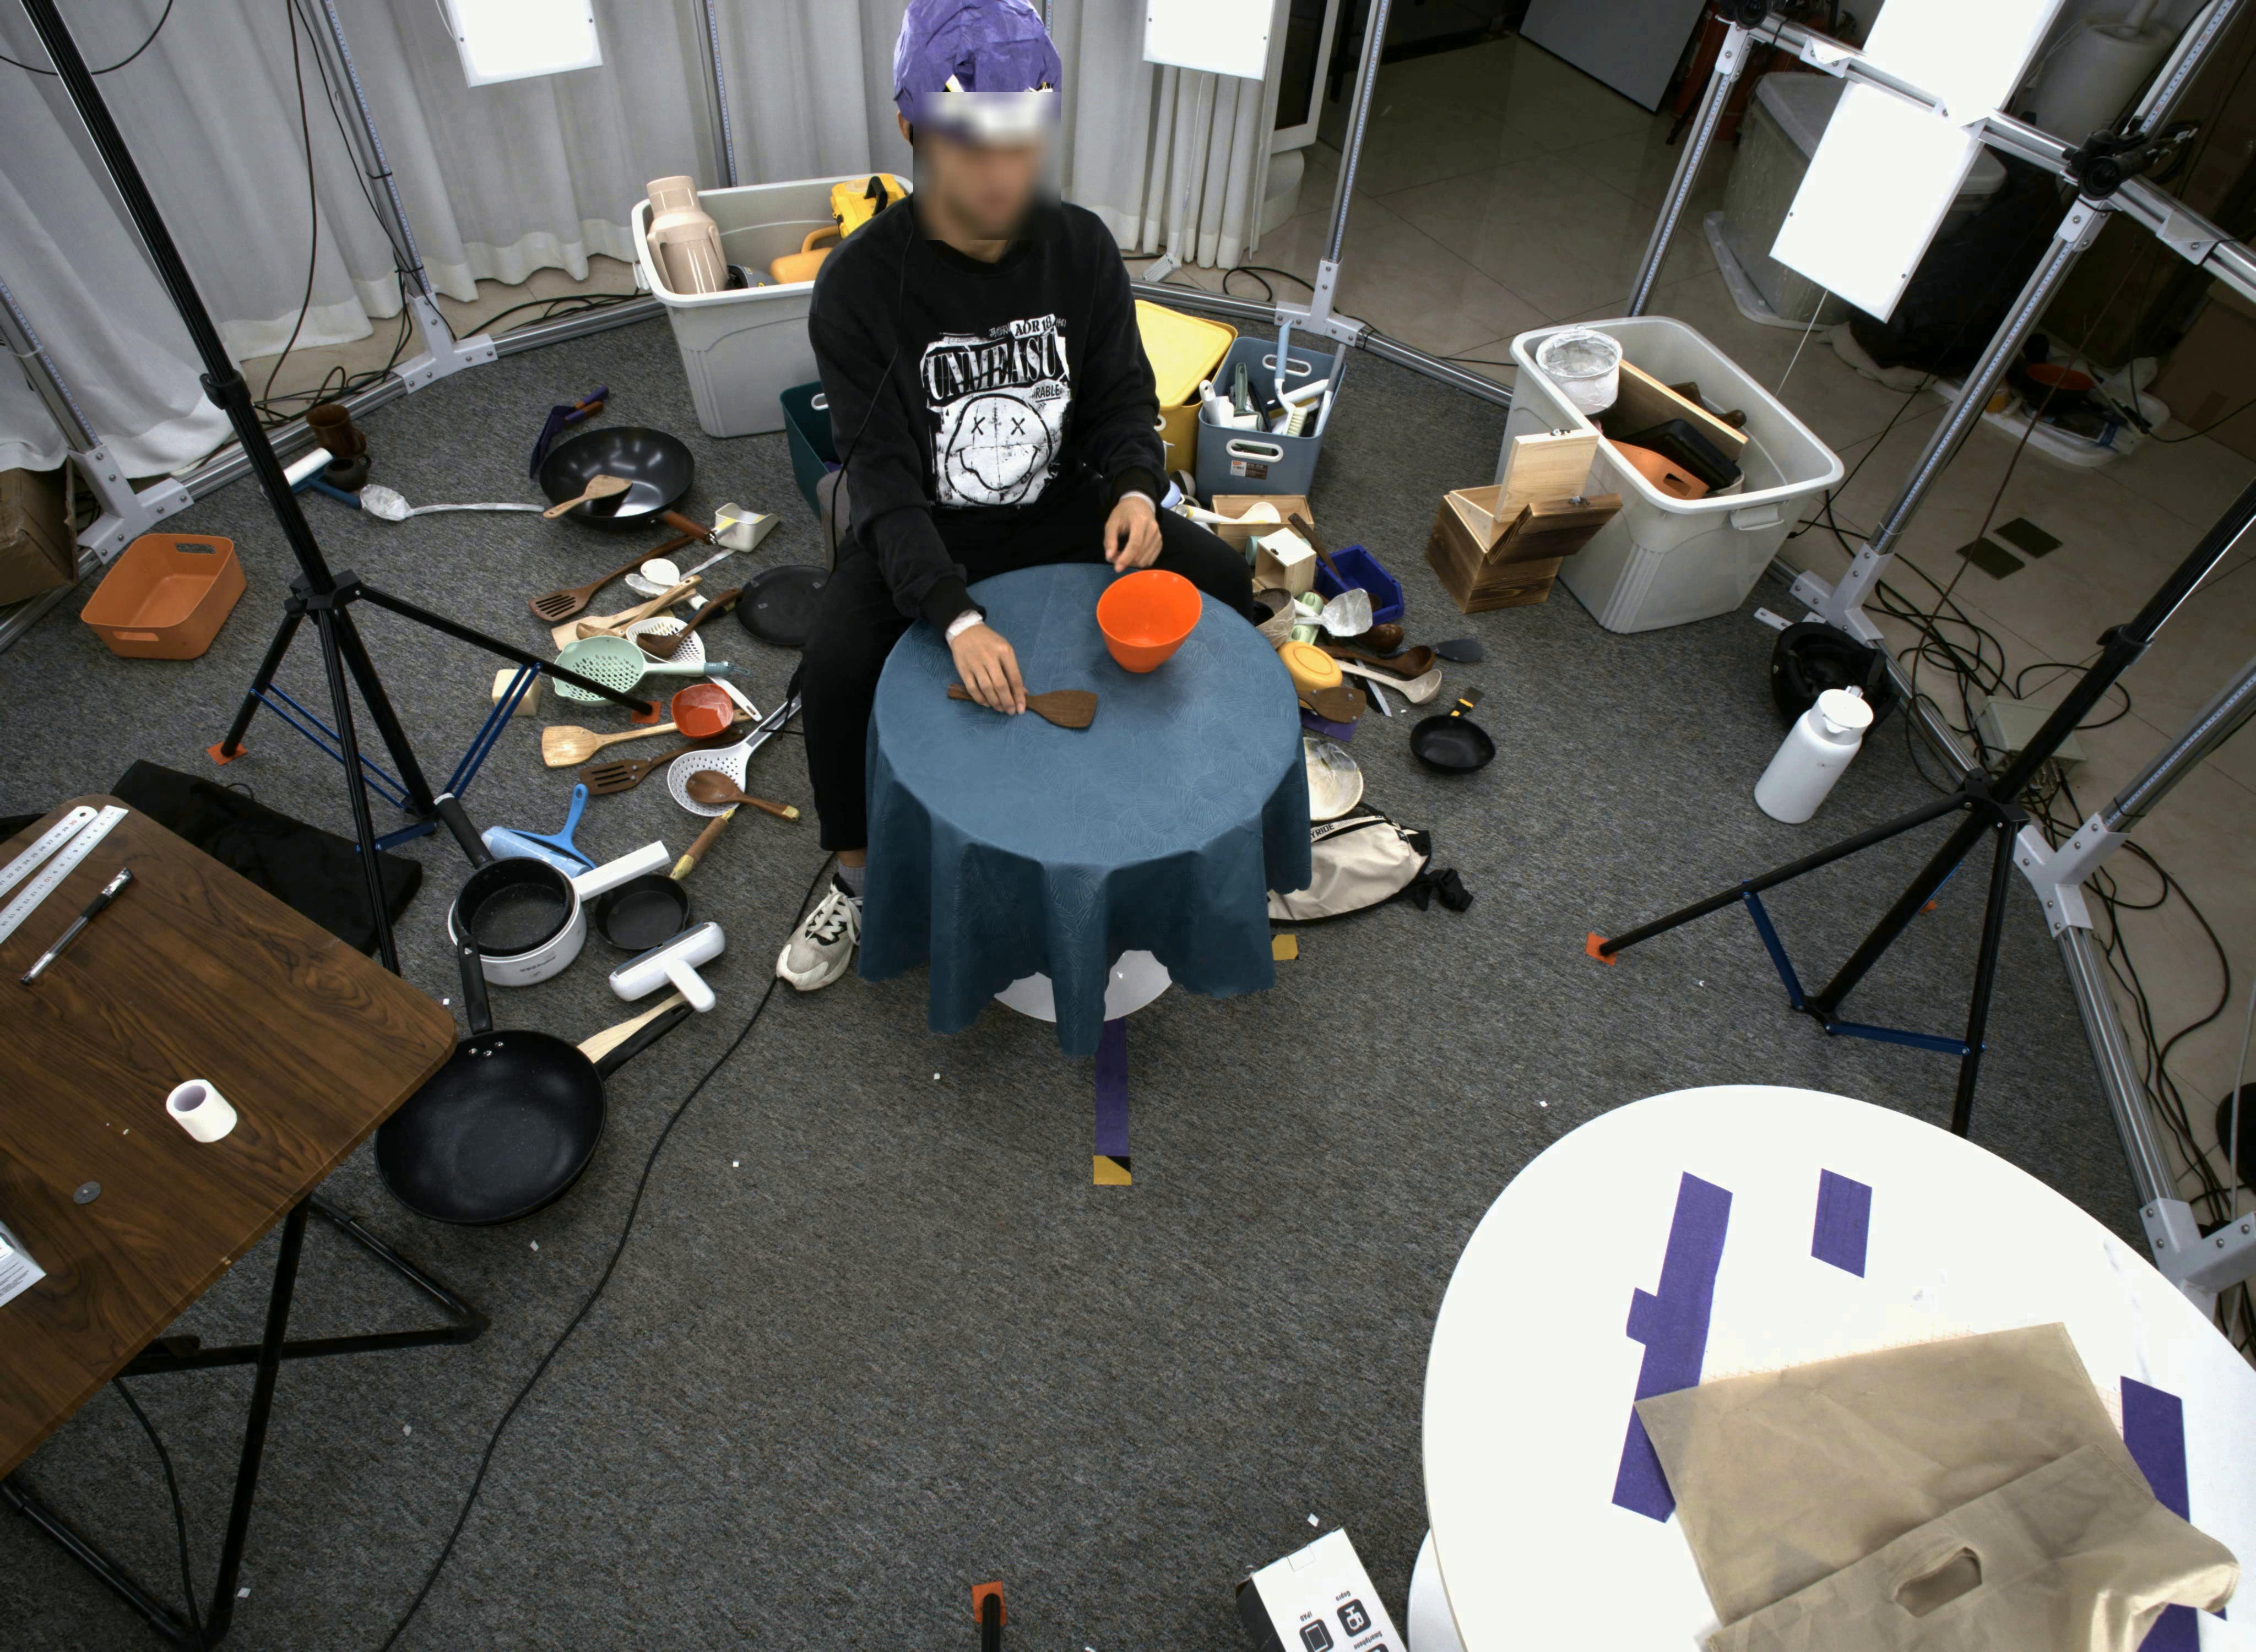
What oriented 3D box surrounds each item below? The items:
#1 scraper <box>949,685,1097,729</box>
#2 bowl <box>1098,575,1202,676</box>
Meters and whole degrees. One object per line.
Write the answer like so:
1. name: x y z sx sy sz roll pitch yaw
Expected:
1. scraper: -0.149 -0.176 1.823 0.211 0.010 0.077 9 48 5
2. bowl: 0.029 -0.281 1.867 0.148 0.102 0.152 2 49 -3
